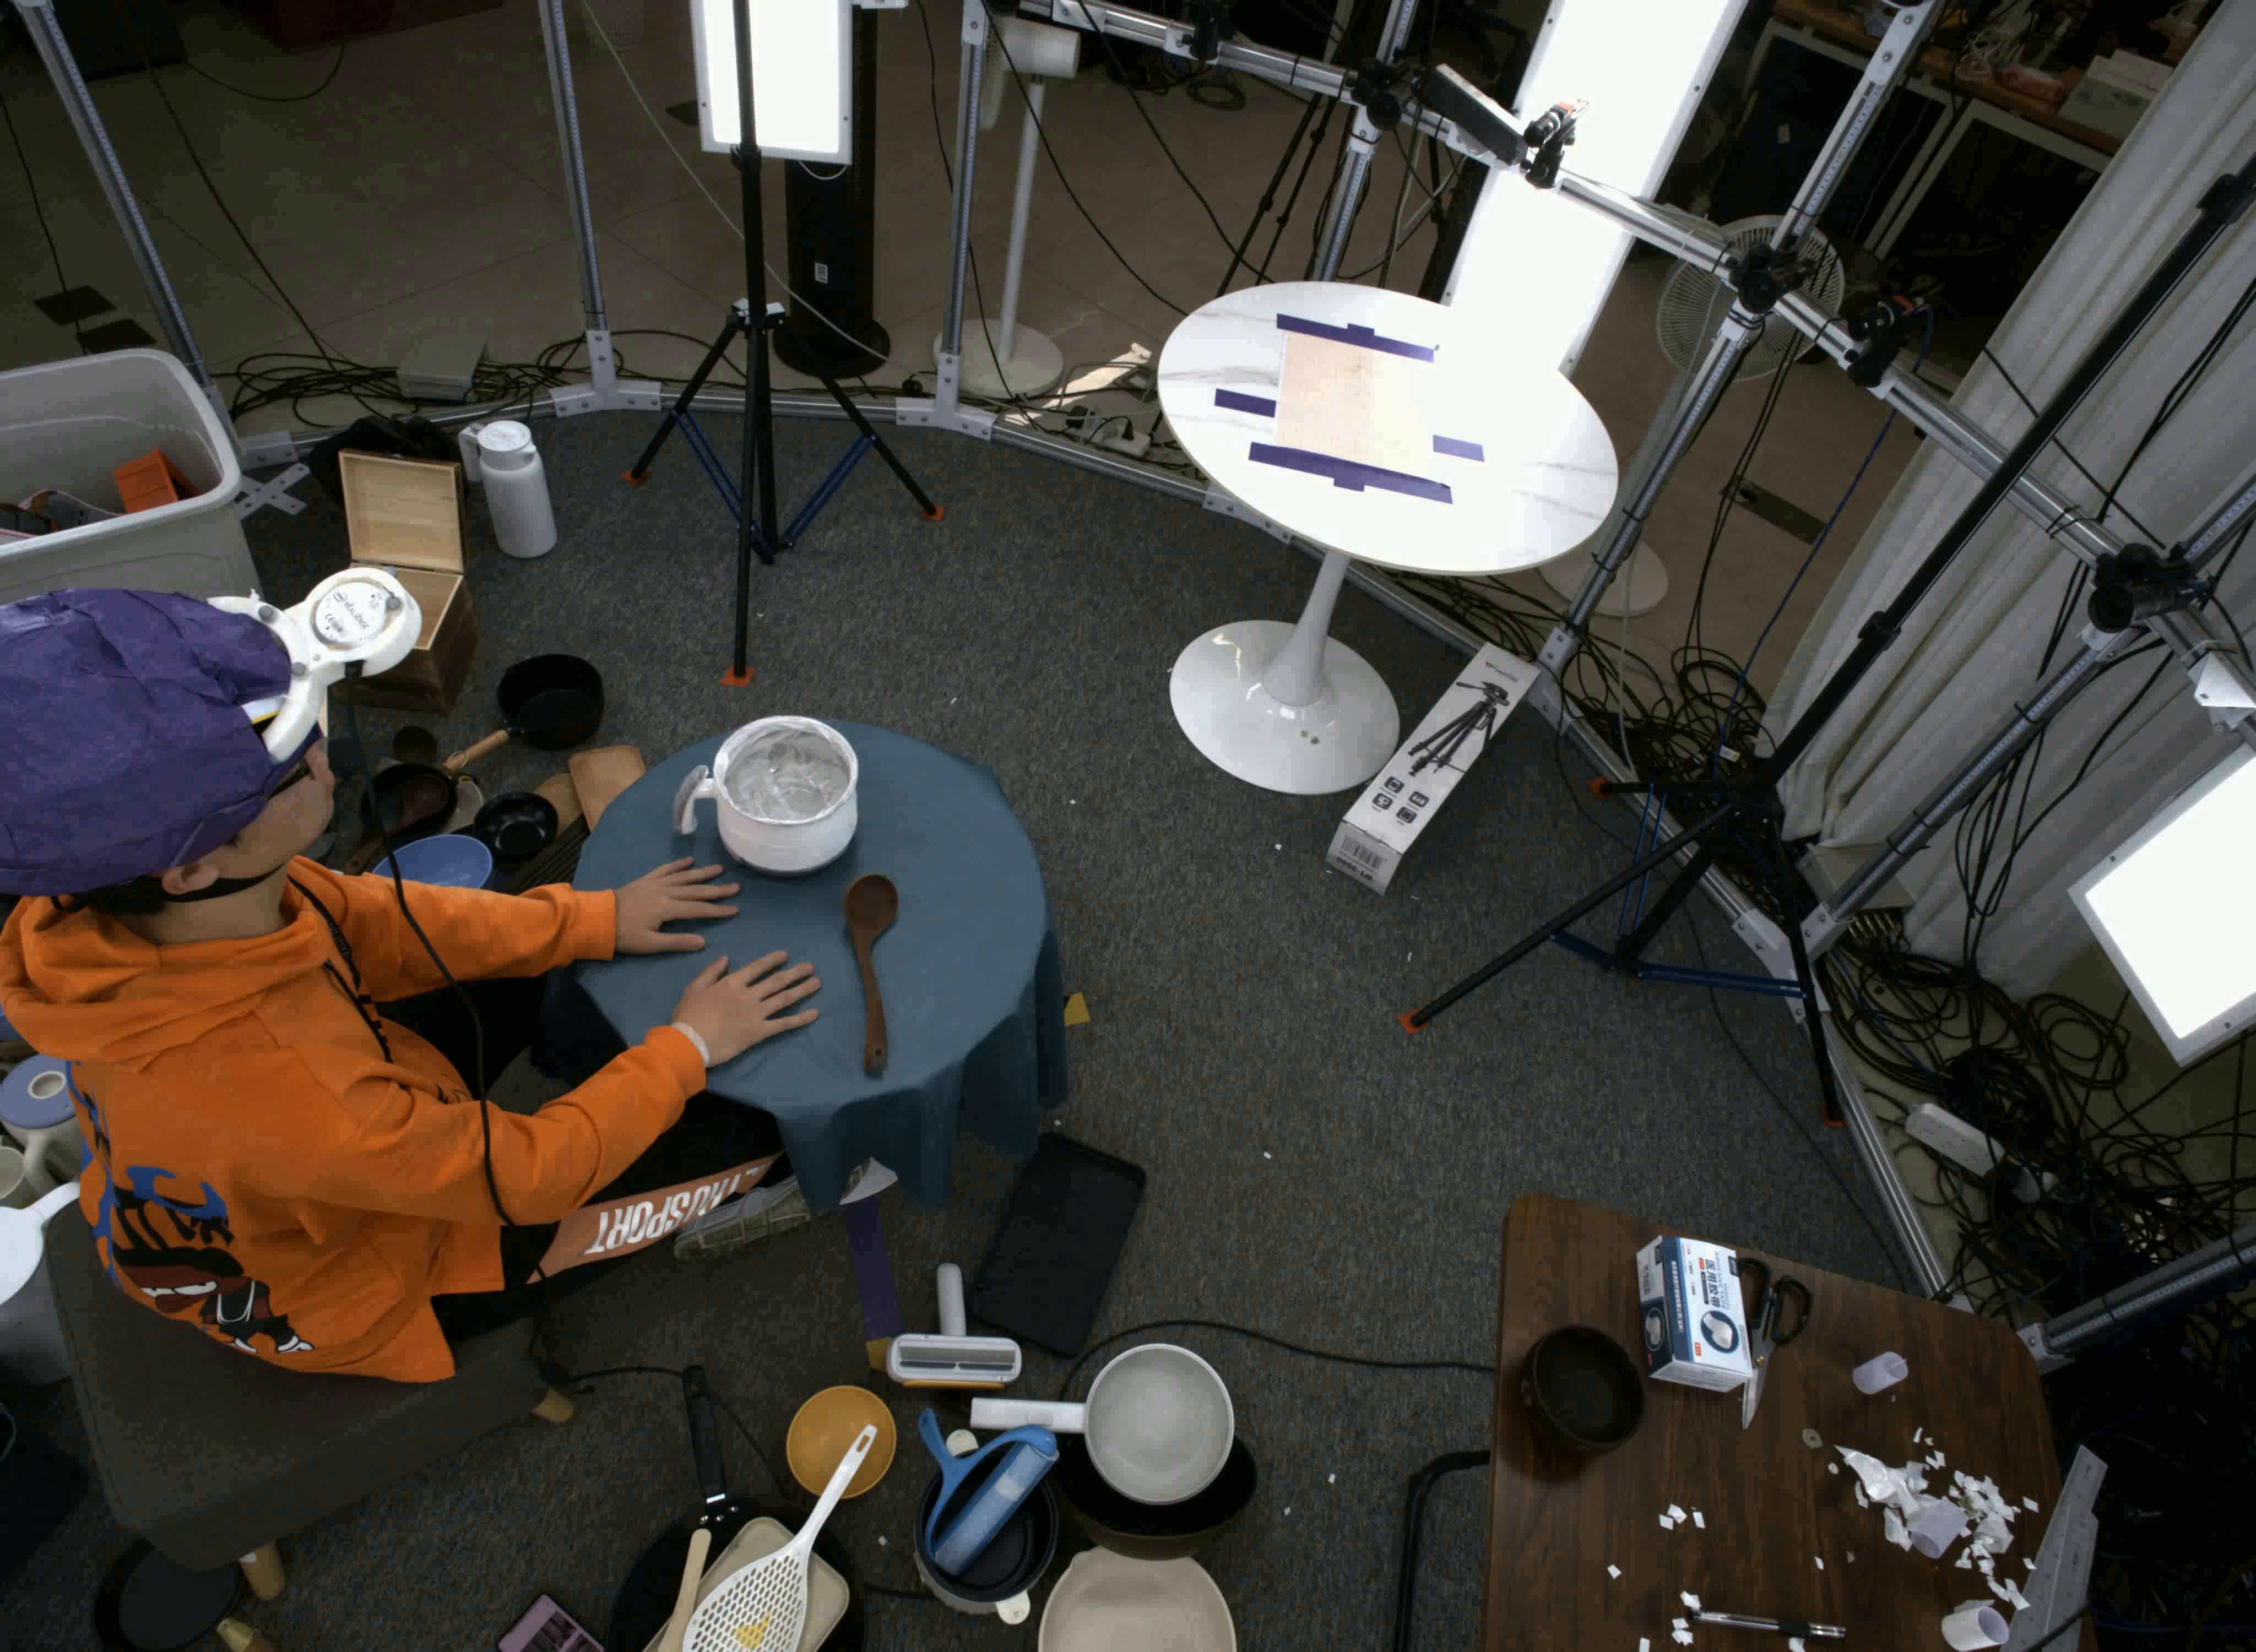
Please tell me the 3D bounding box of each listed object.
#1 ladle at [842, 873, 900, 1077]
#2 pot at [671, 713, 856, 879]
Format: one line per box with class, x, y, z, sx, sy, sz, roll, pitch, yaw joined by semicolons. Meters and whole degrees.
ladle;-0.305;0.173;1.577;0.078;0.065;0.254;15;46;-35
pot;-0.462;-0.033;1.640;0.234;0.139;0.174;-3;54;-17
